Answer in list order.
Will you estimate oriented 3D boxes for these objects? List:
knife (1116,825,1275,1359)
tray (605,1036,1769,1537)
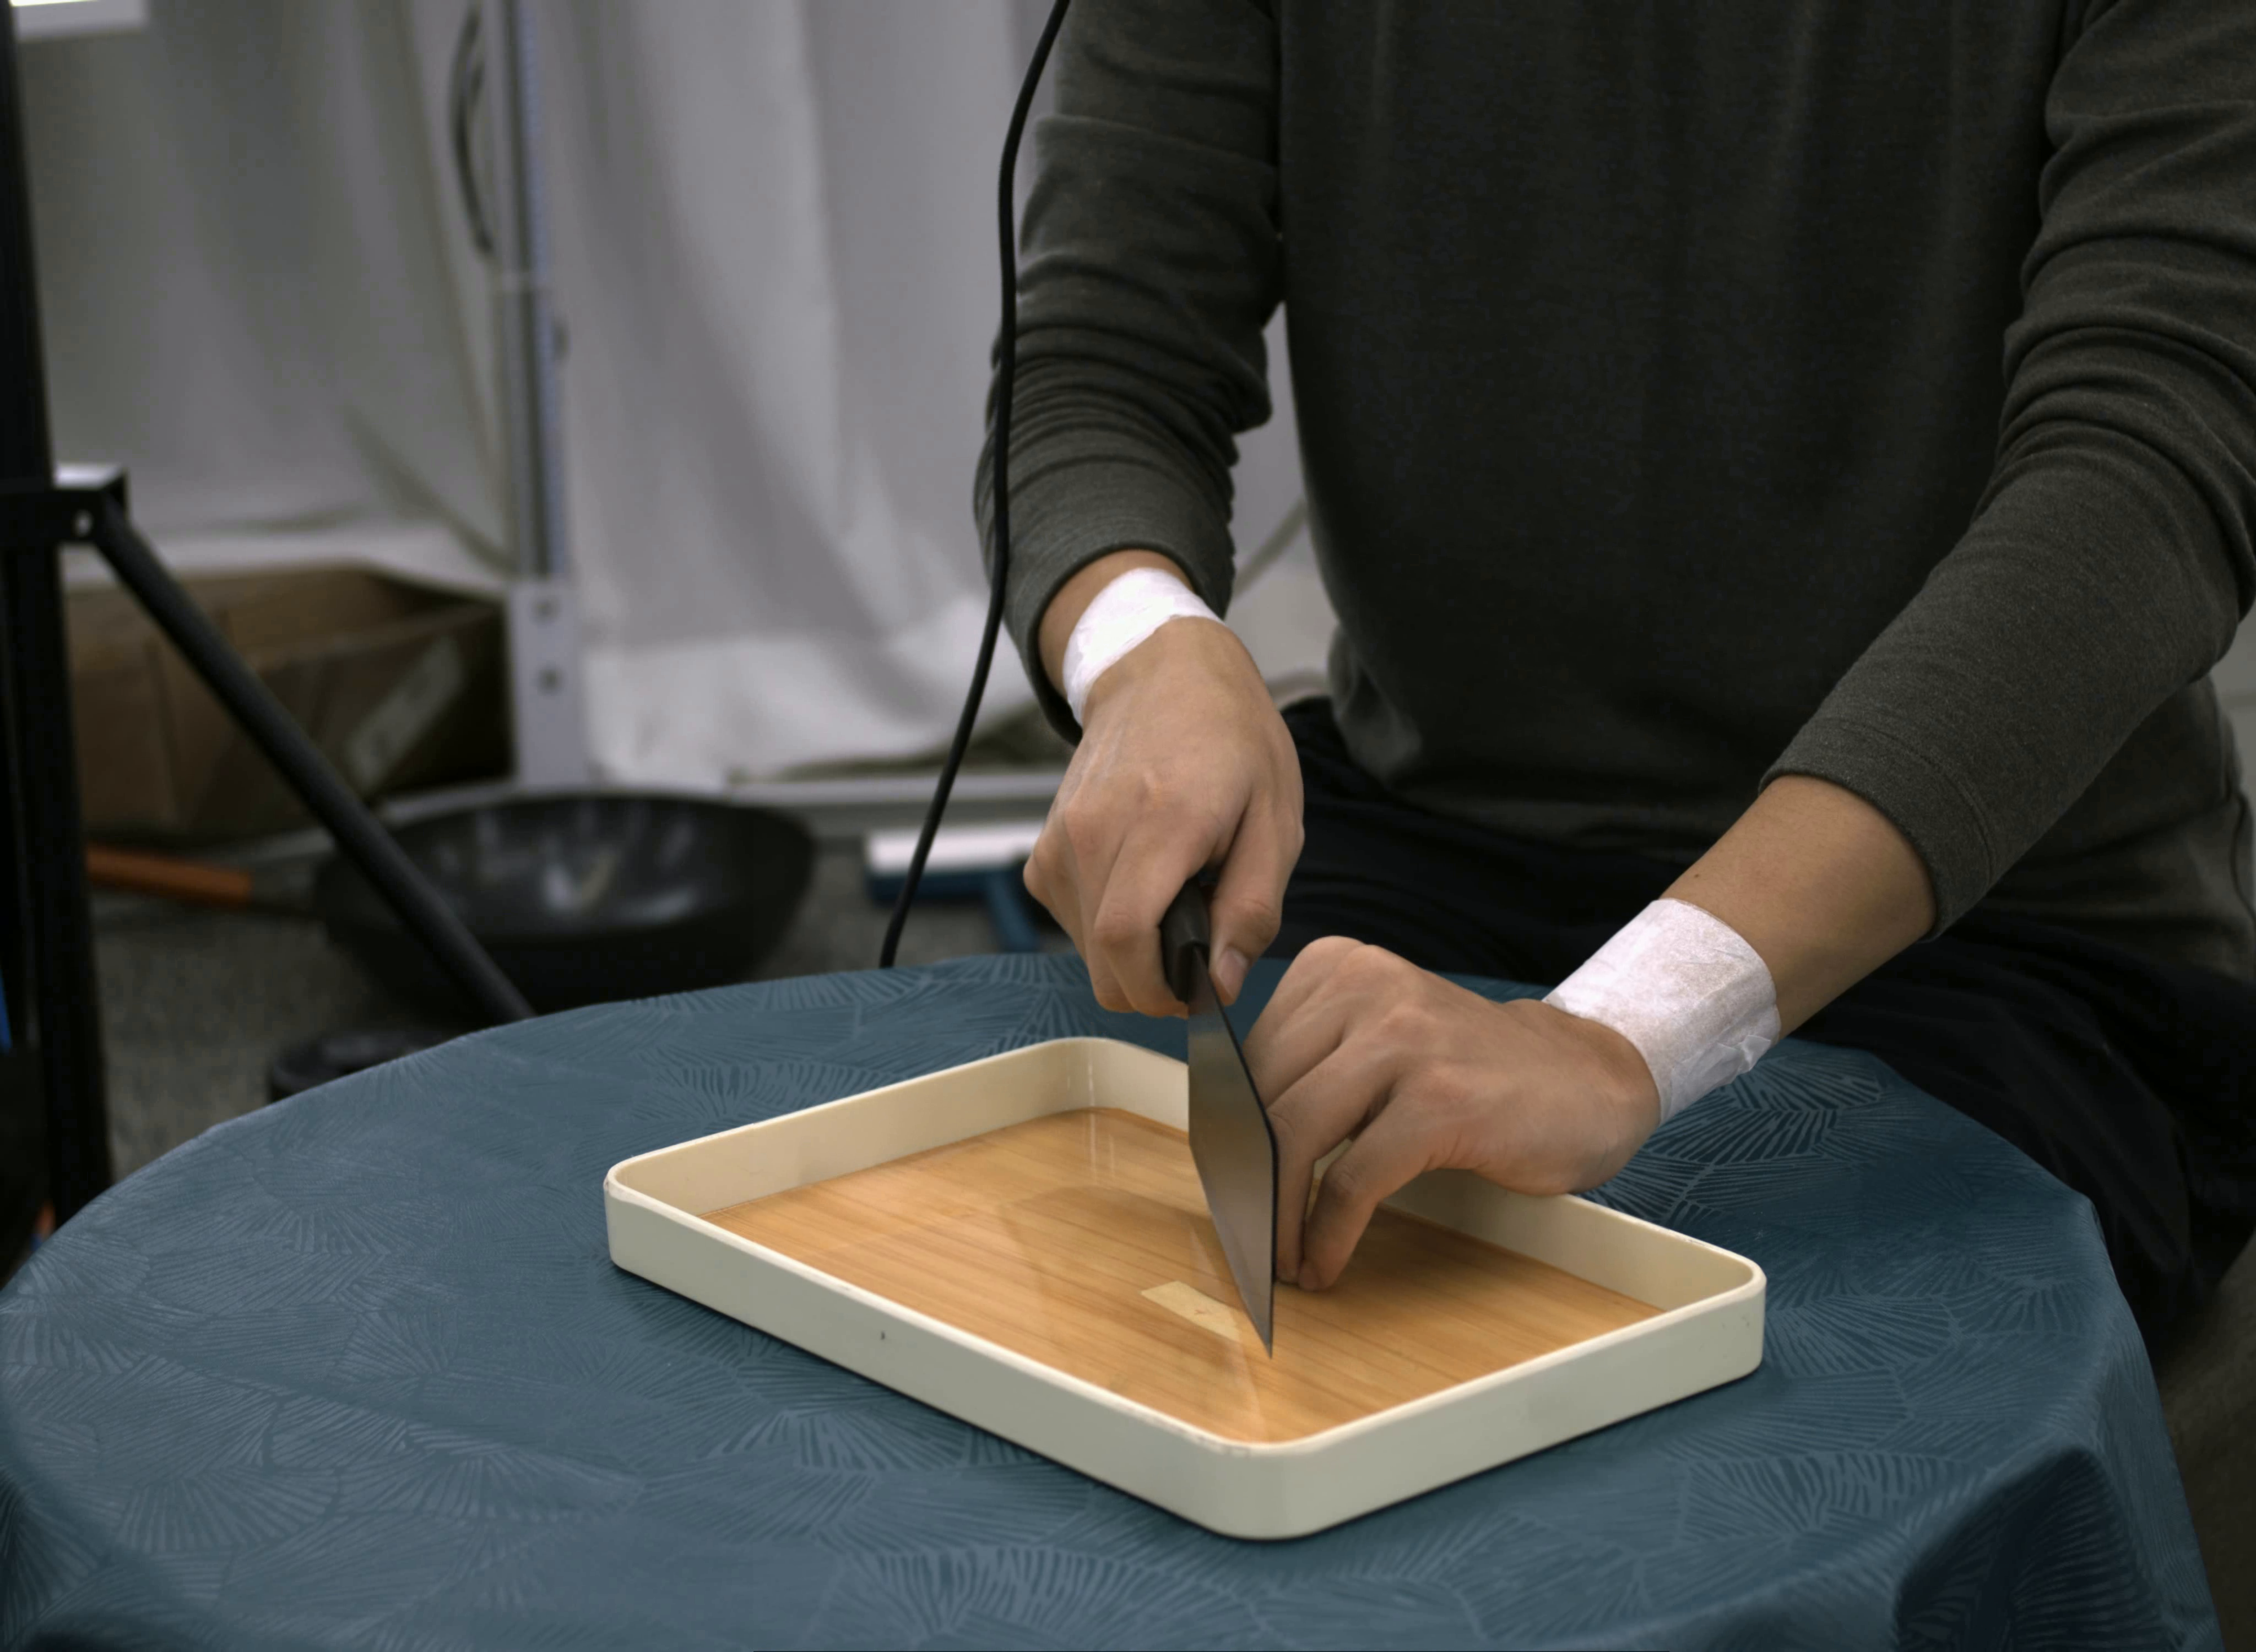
[{"bbox_3d":[0.021,0.066,1.510,0.020,0.081,0.305,0,21,-6],"label":"knife"},{"bbox_3d":[0.011,0.121,1.464,0.187,0.027,0.307,-14,19,-36],"label":"tray"}]
